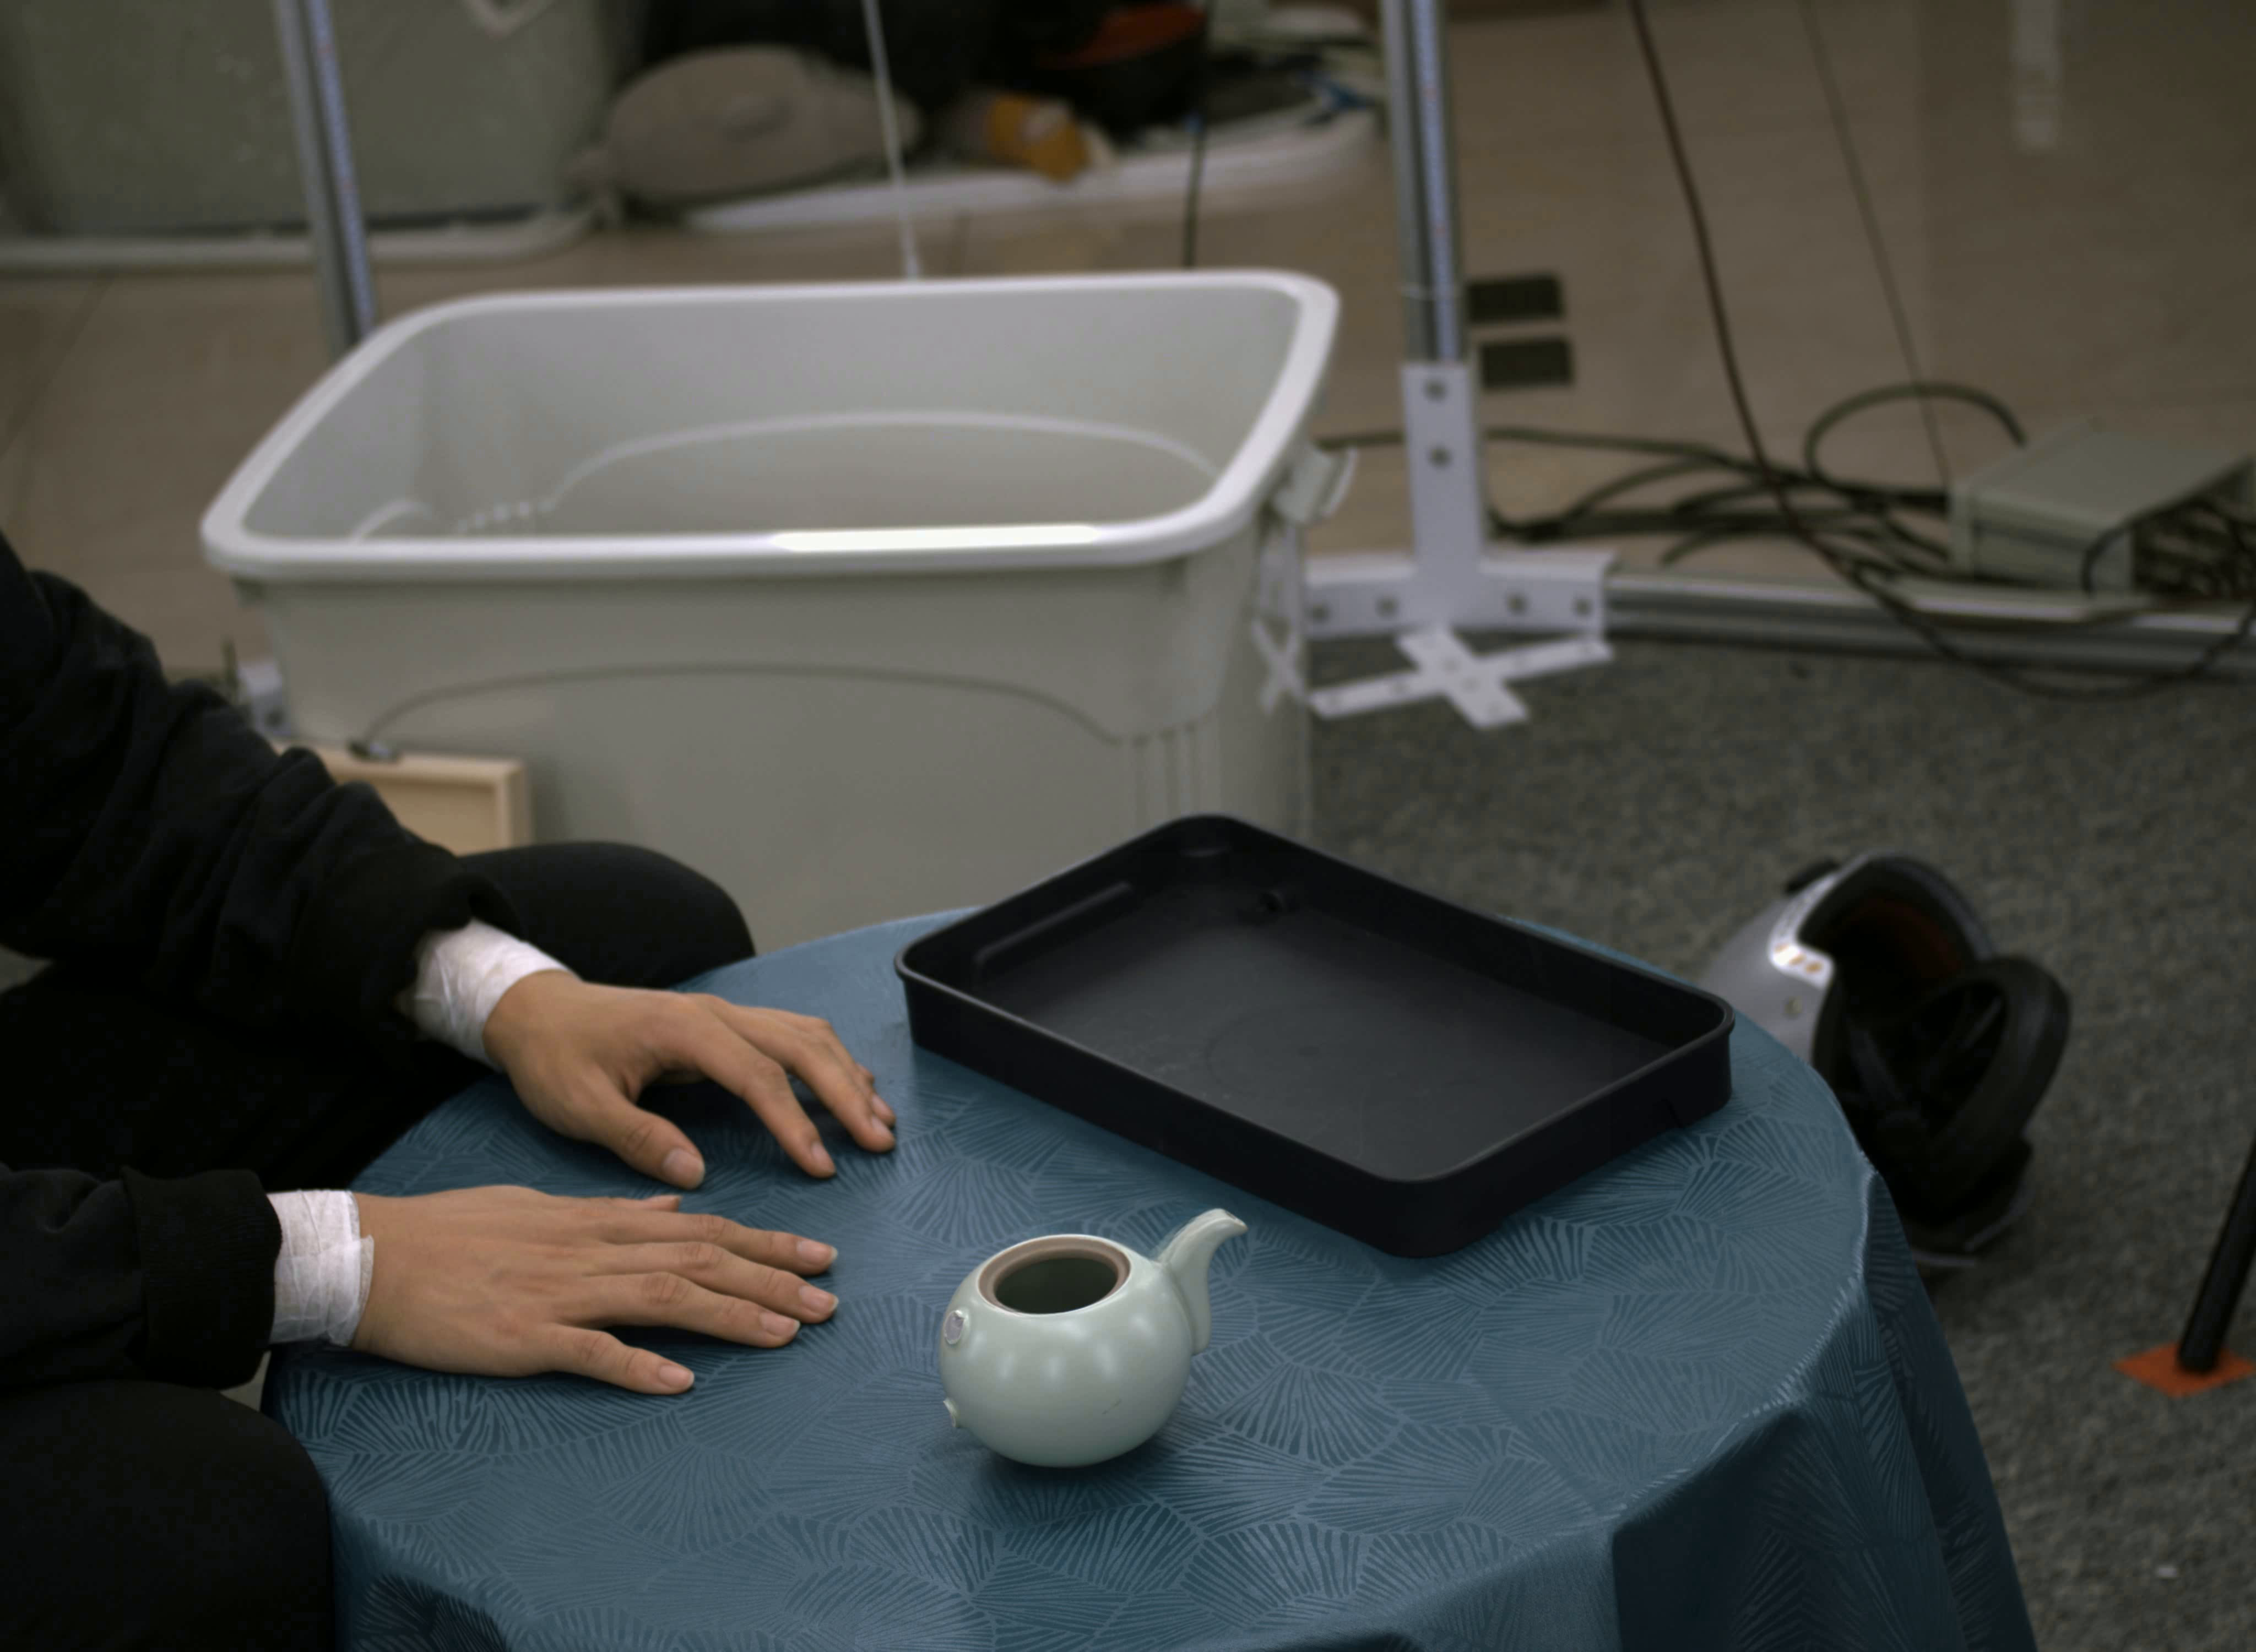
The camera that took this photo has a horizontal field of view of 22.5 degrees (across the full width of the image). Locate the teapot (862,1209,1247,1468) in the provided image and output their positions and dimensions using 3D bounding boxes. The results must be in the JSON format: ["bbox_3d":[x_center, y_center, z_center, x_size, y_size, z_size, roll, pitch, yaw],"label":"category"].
[{"bbox_3d":[-0.023,0.182,1.977,0.143,0.076,0.087,-12,26,-16],"label":"teapot"}]

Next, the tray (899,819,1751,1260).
[{"bbox_3d":[0.074,0.079,2.219,0.183,0.037,0.315,-26,31,-36],"label":"tray"}]
